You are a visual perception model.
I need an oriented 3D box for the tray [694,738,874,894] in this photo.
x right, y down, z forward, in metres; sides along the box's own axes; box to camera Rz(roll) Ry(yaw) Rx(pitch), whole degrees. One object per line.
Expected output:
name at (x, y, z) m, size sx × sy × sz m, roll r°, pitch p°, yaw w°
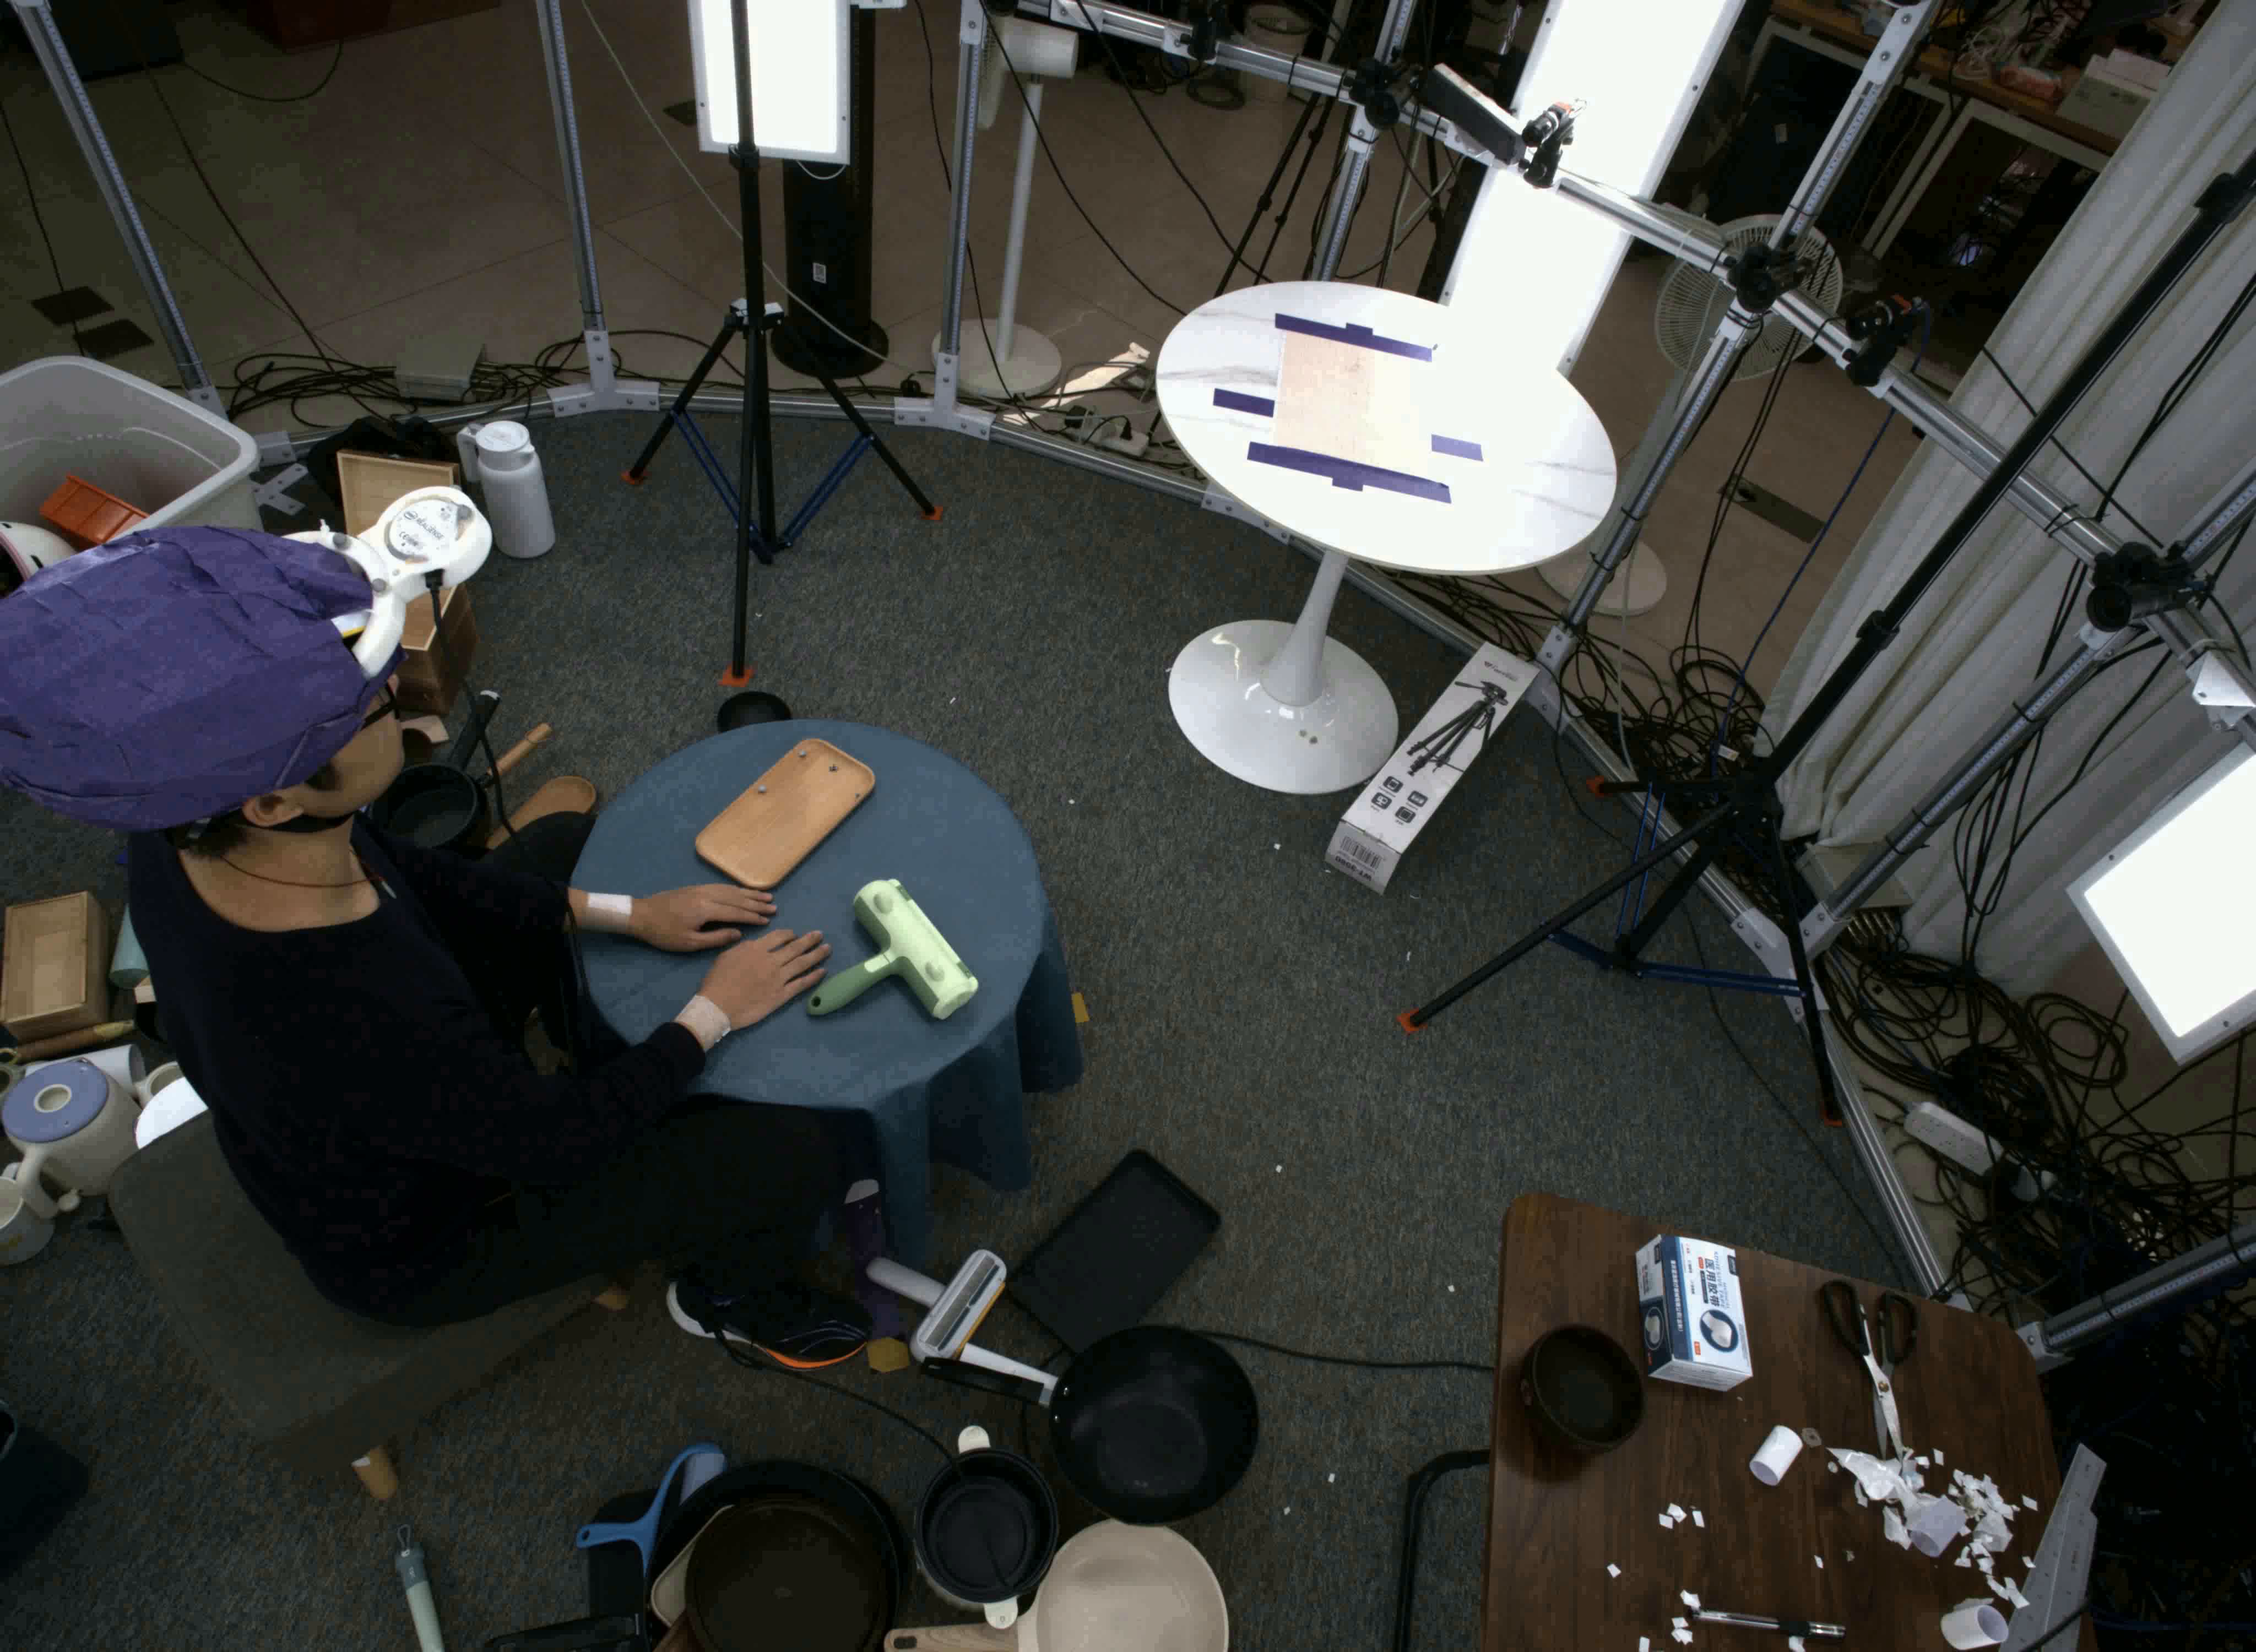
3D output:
tray at (-0.450, -0.017, 1.709) m, size 0.128 × 0.023 × 0.250 m, roll 30°, pitch 53°, yaw 11°

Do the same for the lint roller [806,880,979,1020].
lint roller at (-0.306, 0.163, 1.567) m, size 0.184 × 0.084 × 0.194 m, roll -26°, pitch 63°, yaw -36°
